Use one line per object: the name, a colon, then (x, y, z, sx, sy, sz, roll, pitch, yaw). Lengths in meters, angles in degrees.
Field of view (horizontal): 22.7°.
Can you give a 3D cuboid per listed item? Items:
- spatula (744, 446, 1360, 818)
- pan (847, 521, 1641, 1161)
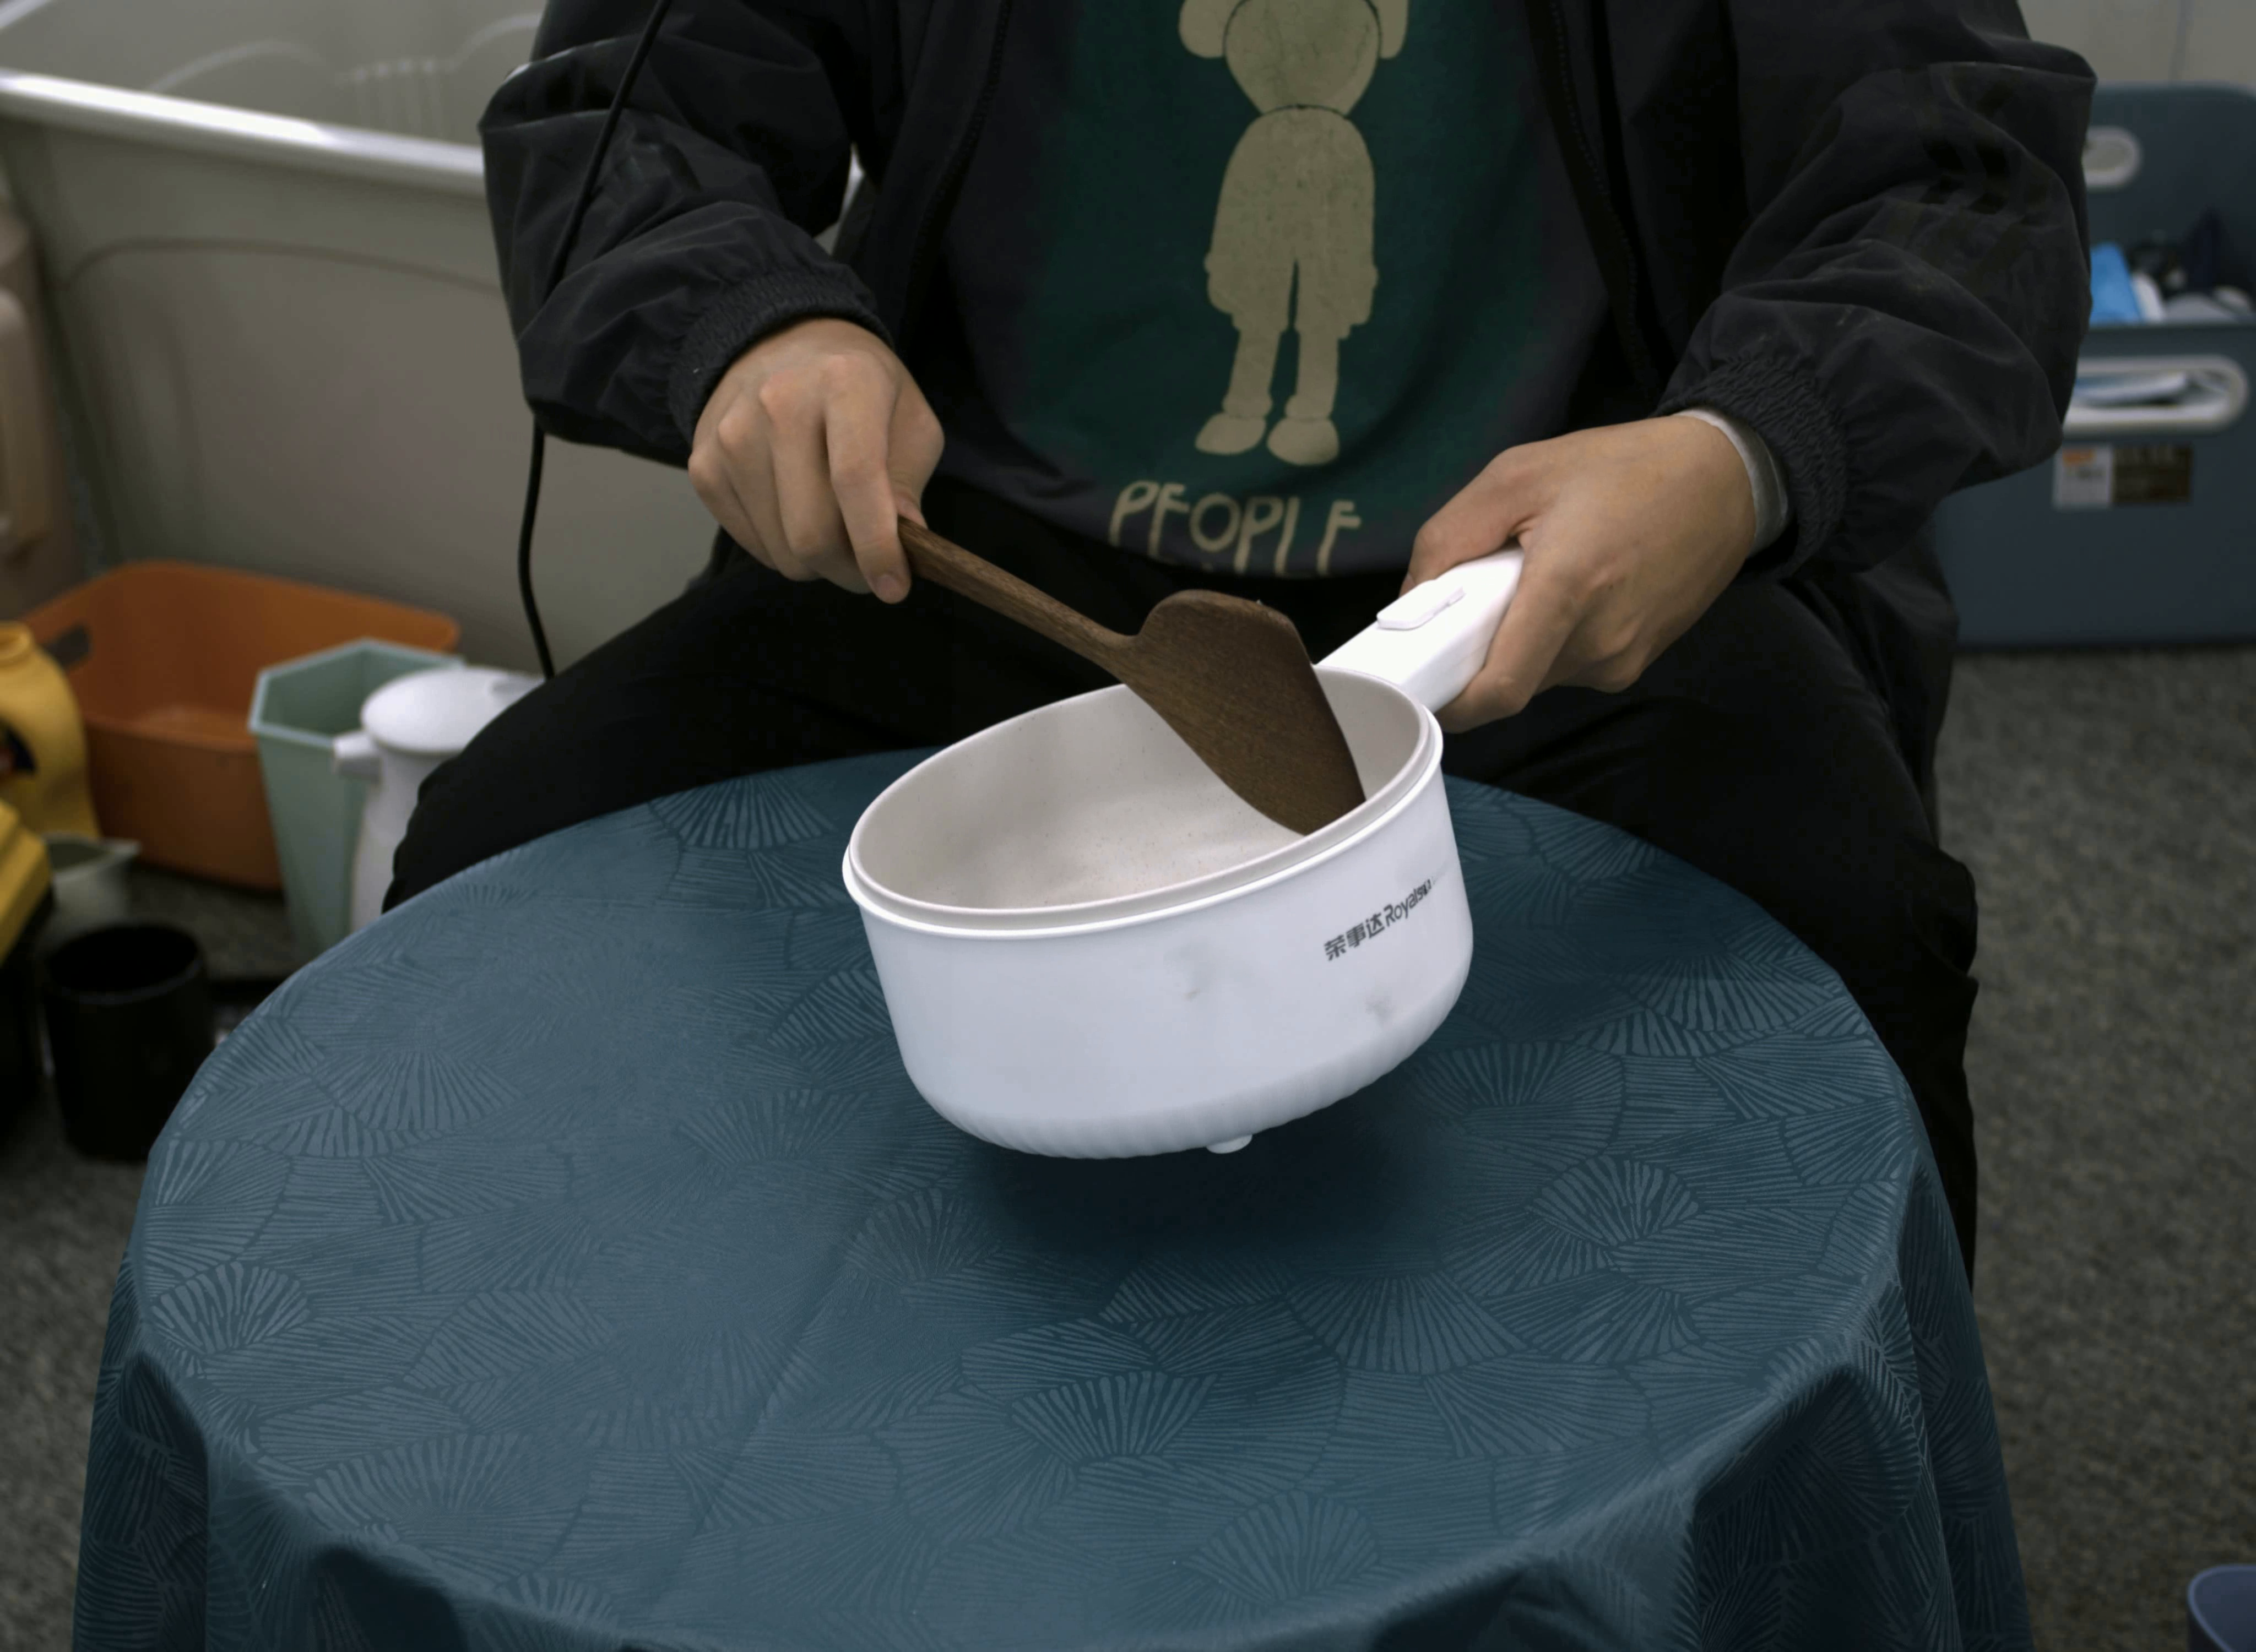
spatula: (-0.035, -0.079, 1.921, 0.016, 0.095, 0.386, -33, 31, -20)
pan: (0.063, 0.003, 1.899, 0.199, 0.101, 0.360, 3, 24, 40)
